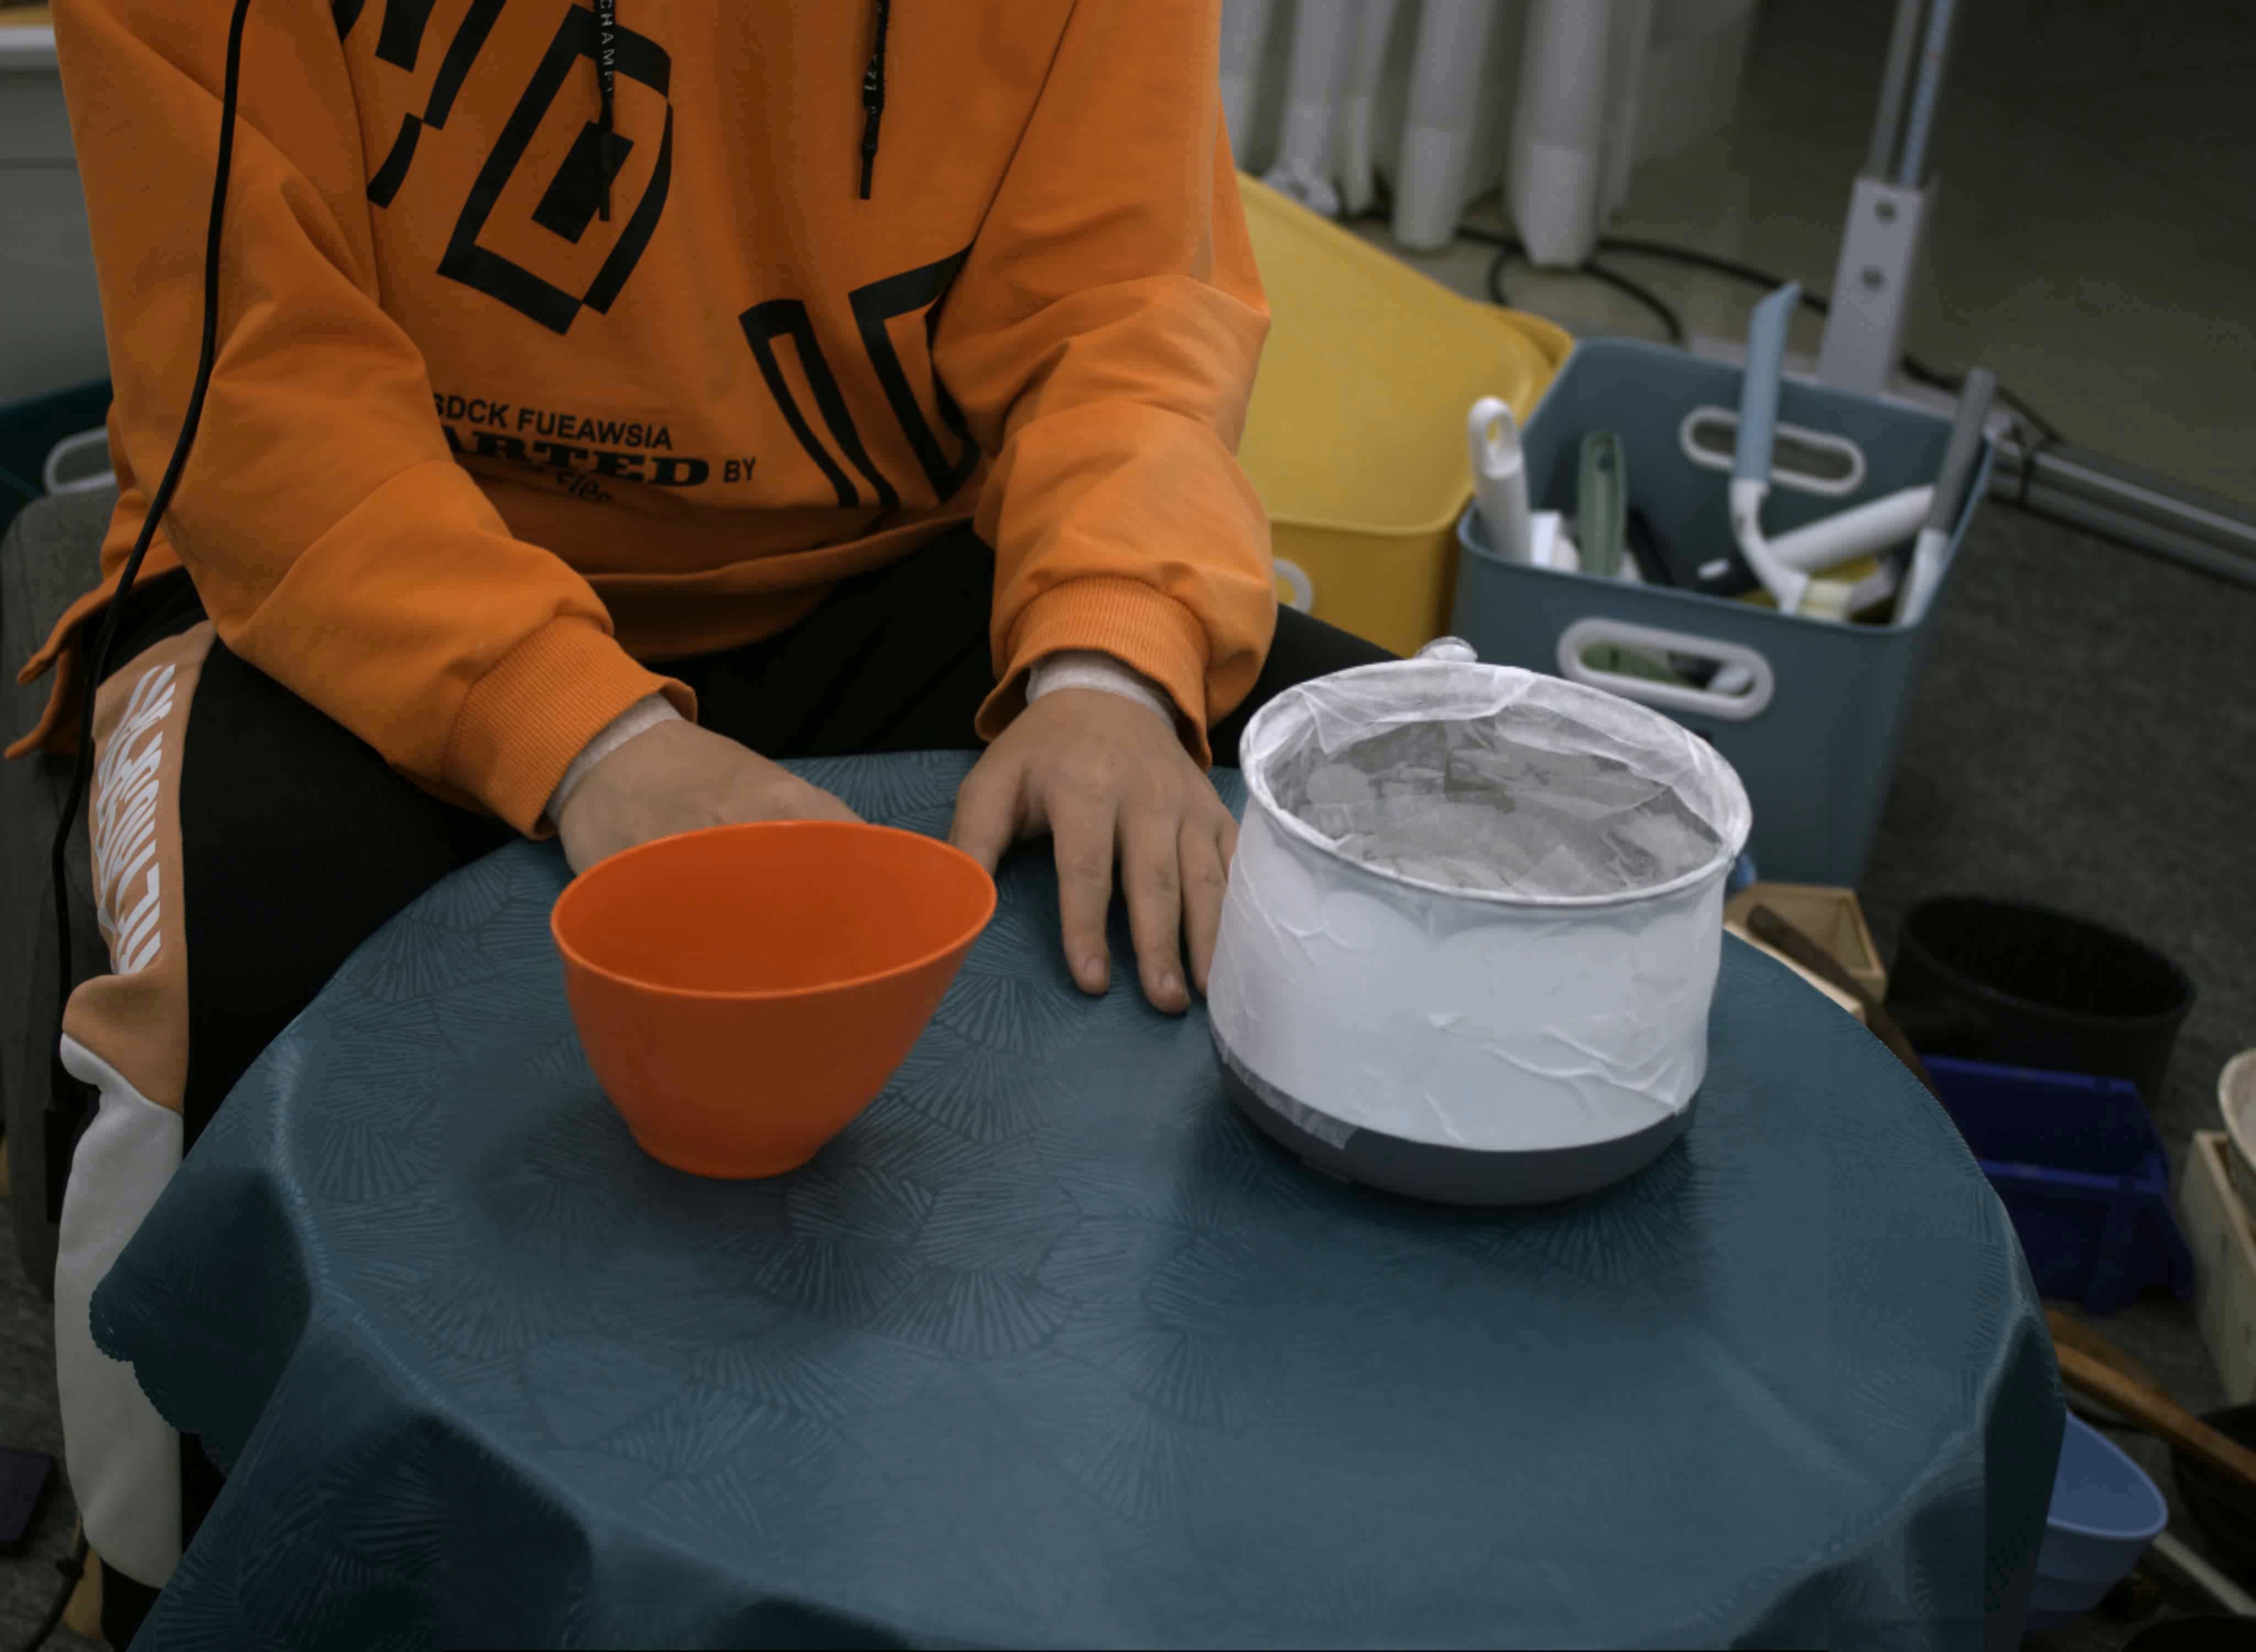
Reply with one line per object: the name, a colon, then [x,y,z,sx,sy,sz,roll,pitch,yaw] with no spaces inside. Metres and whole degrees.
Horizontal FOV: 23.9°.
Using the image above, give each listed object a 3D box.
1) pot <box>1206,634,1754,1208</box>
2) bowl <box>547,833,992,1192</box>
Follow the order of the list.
pot: [0.115,0.026,1.868,0.178,0.136,0.235,3,28,-9]
bowl: [-0.123,0.066,1.784,0.147,0.104,0.149,4,25,-2]
